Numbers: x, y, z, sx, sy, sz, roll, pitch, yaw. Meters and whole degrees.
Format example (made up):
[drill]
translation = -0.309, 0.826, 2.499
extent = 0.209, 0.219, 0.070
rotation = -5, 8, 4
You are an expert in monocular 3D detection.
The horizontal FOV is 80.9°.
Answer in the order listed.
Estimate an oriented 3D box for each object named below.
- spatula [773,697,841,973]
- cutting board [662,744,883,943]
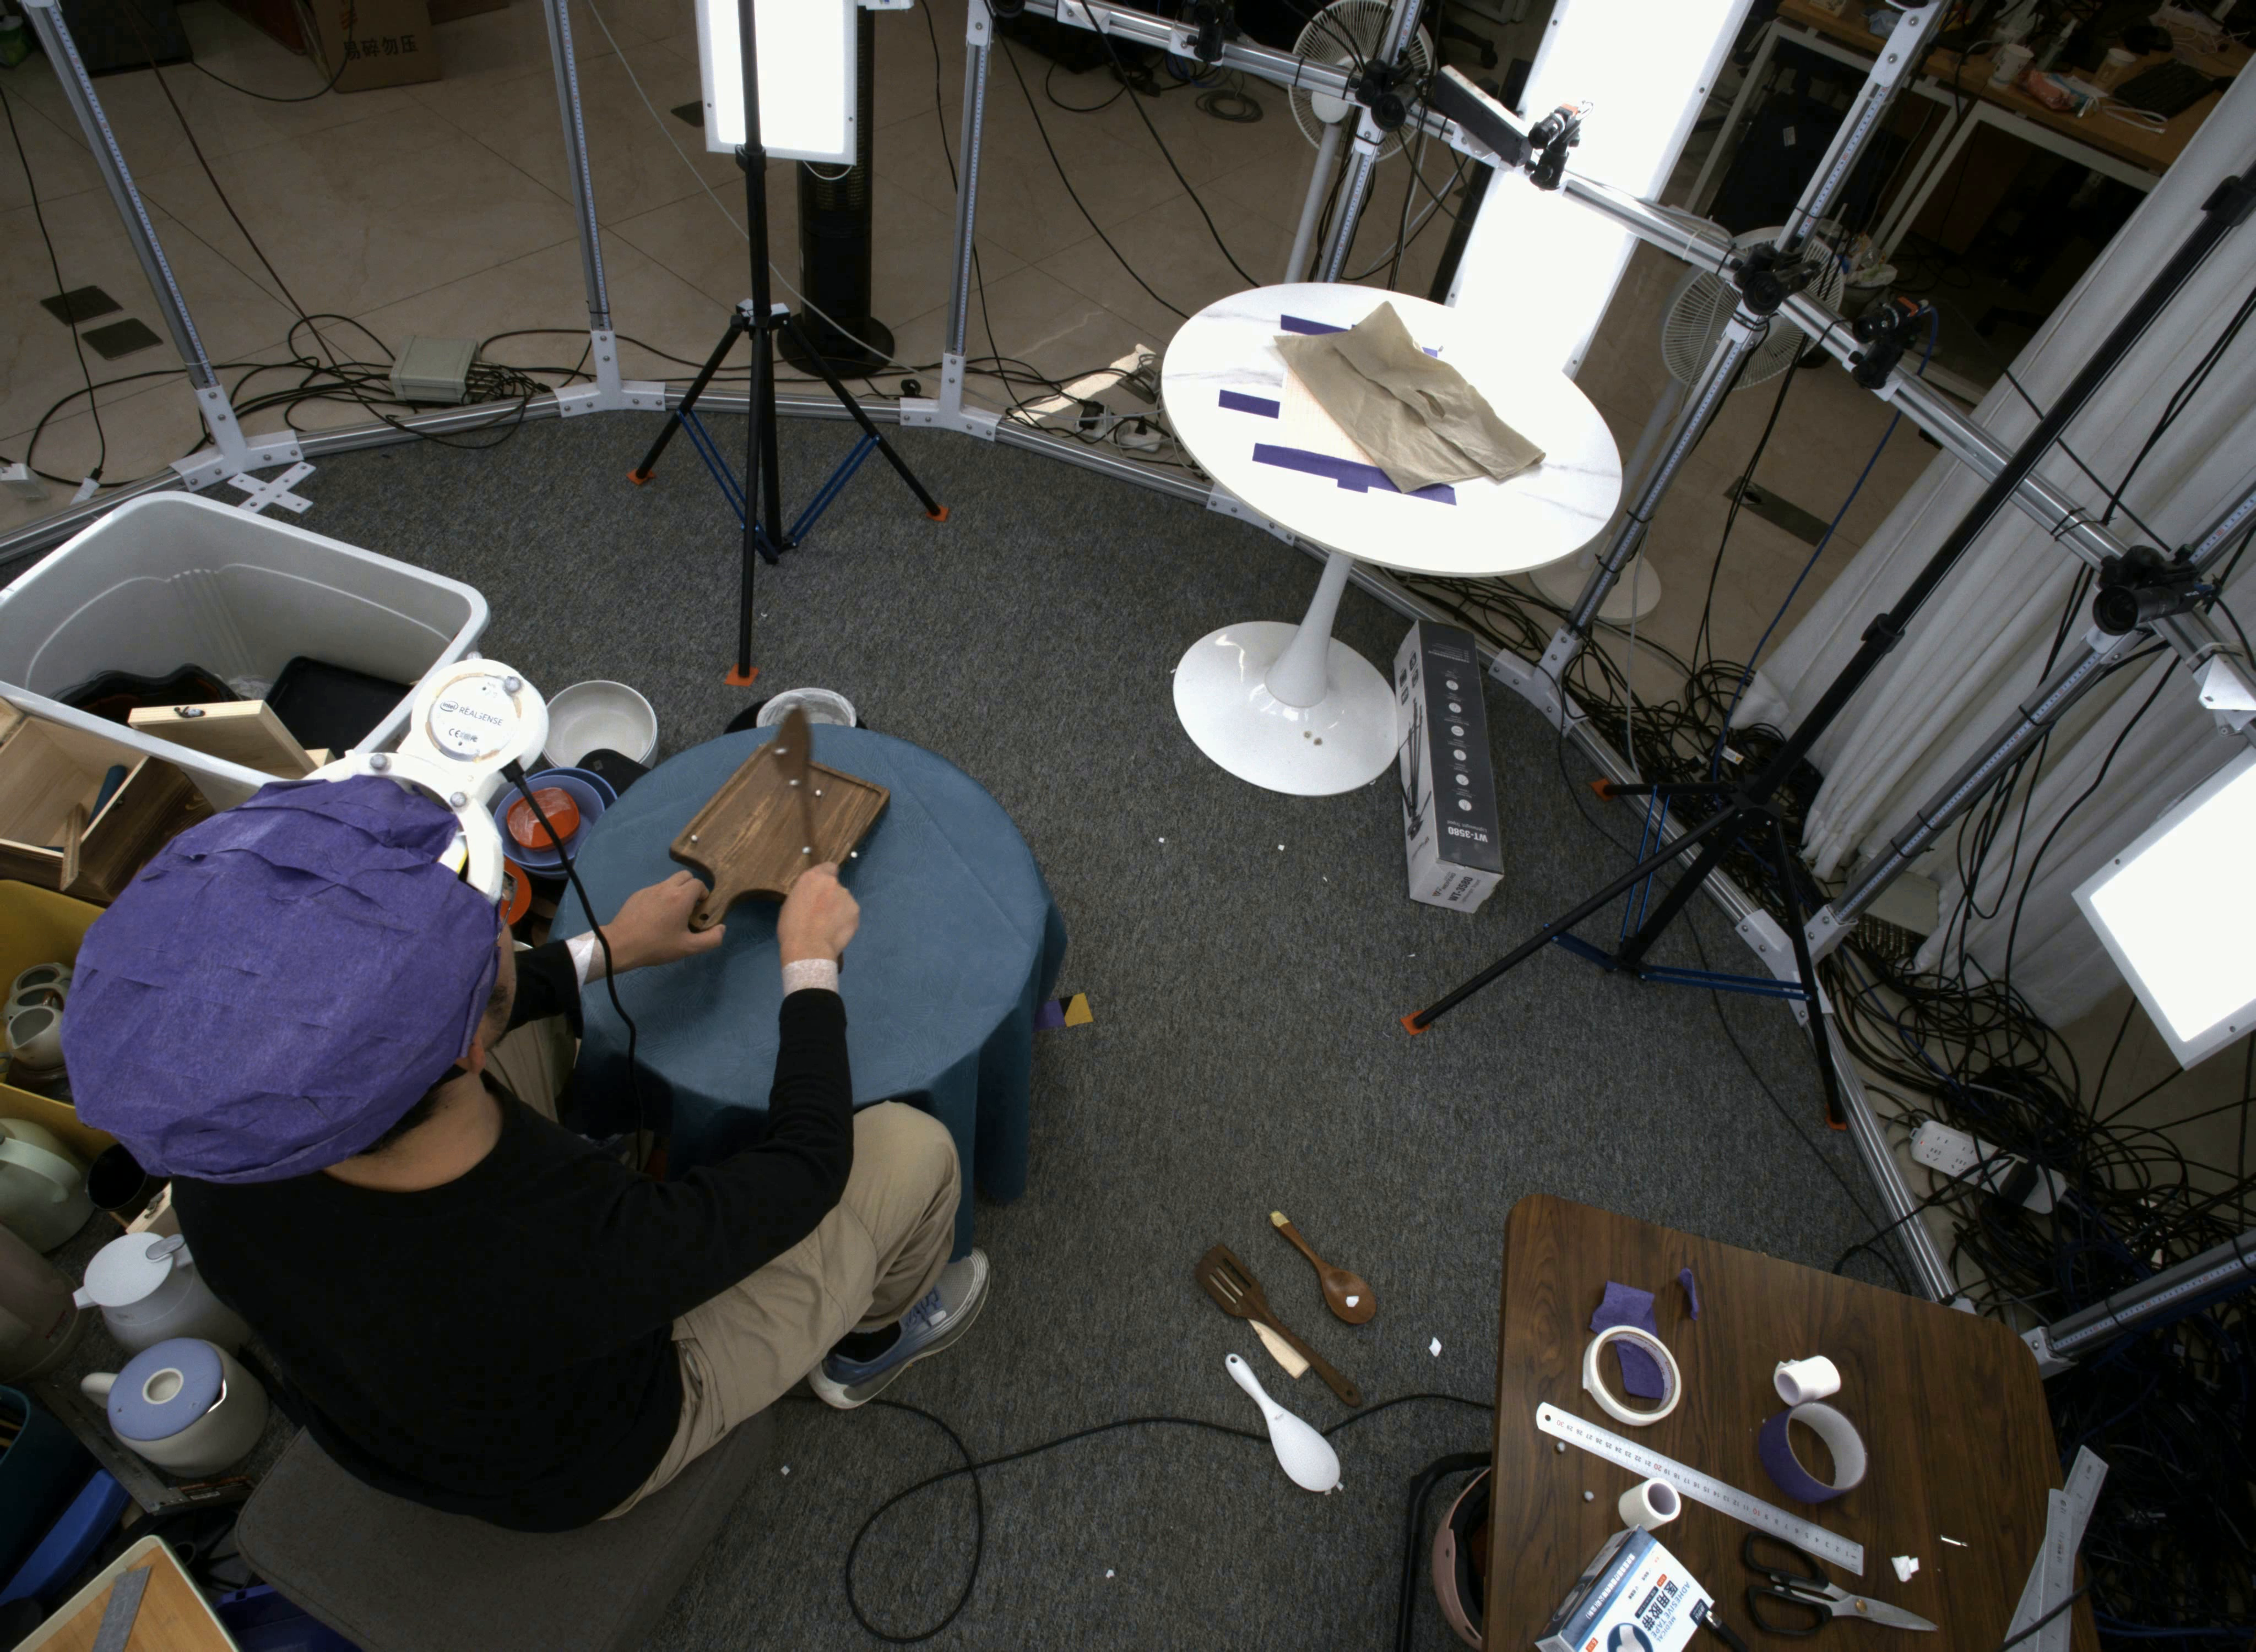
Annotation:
[spatula]
translation = -0.375, 0.008, 1.521
extent = 0.016, 0.096, 0.376
rotation = 8, 47, -35
[cutting board]
translation = -0.465, 0.024, 1.633
extent = 0.199, 0.024, 0.348
rotation = 21, 40, 2
